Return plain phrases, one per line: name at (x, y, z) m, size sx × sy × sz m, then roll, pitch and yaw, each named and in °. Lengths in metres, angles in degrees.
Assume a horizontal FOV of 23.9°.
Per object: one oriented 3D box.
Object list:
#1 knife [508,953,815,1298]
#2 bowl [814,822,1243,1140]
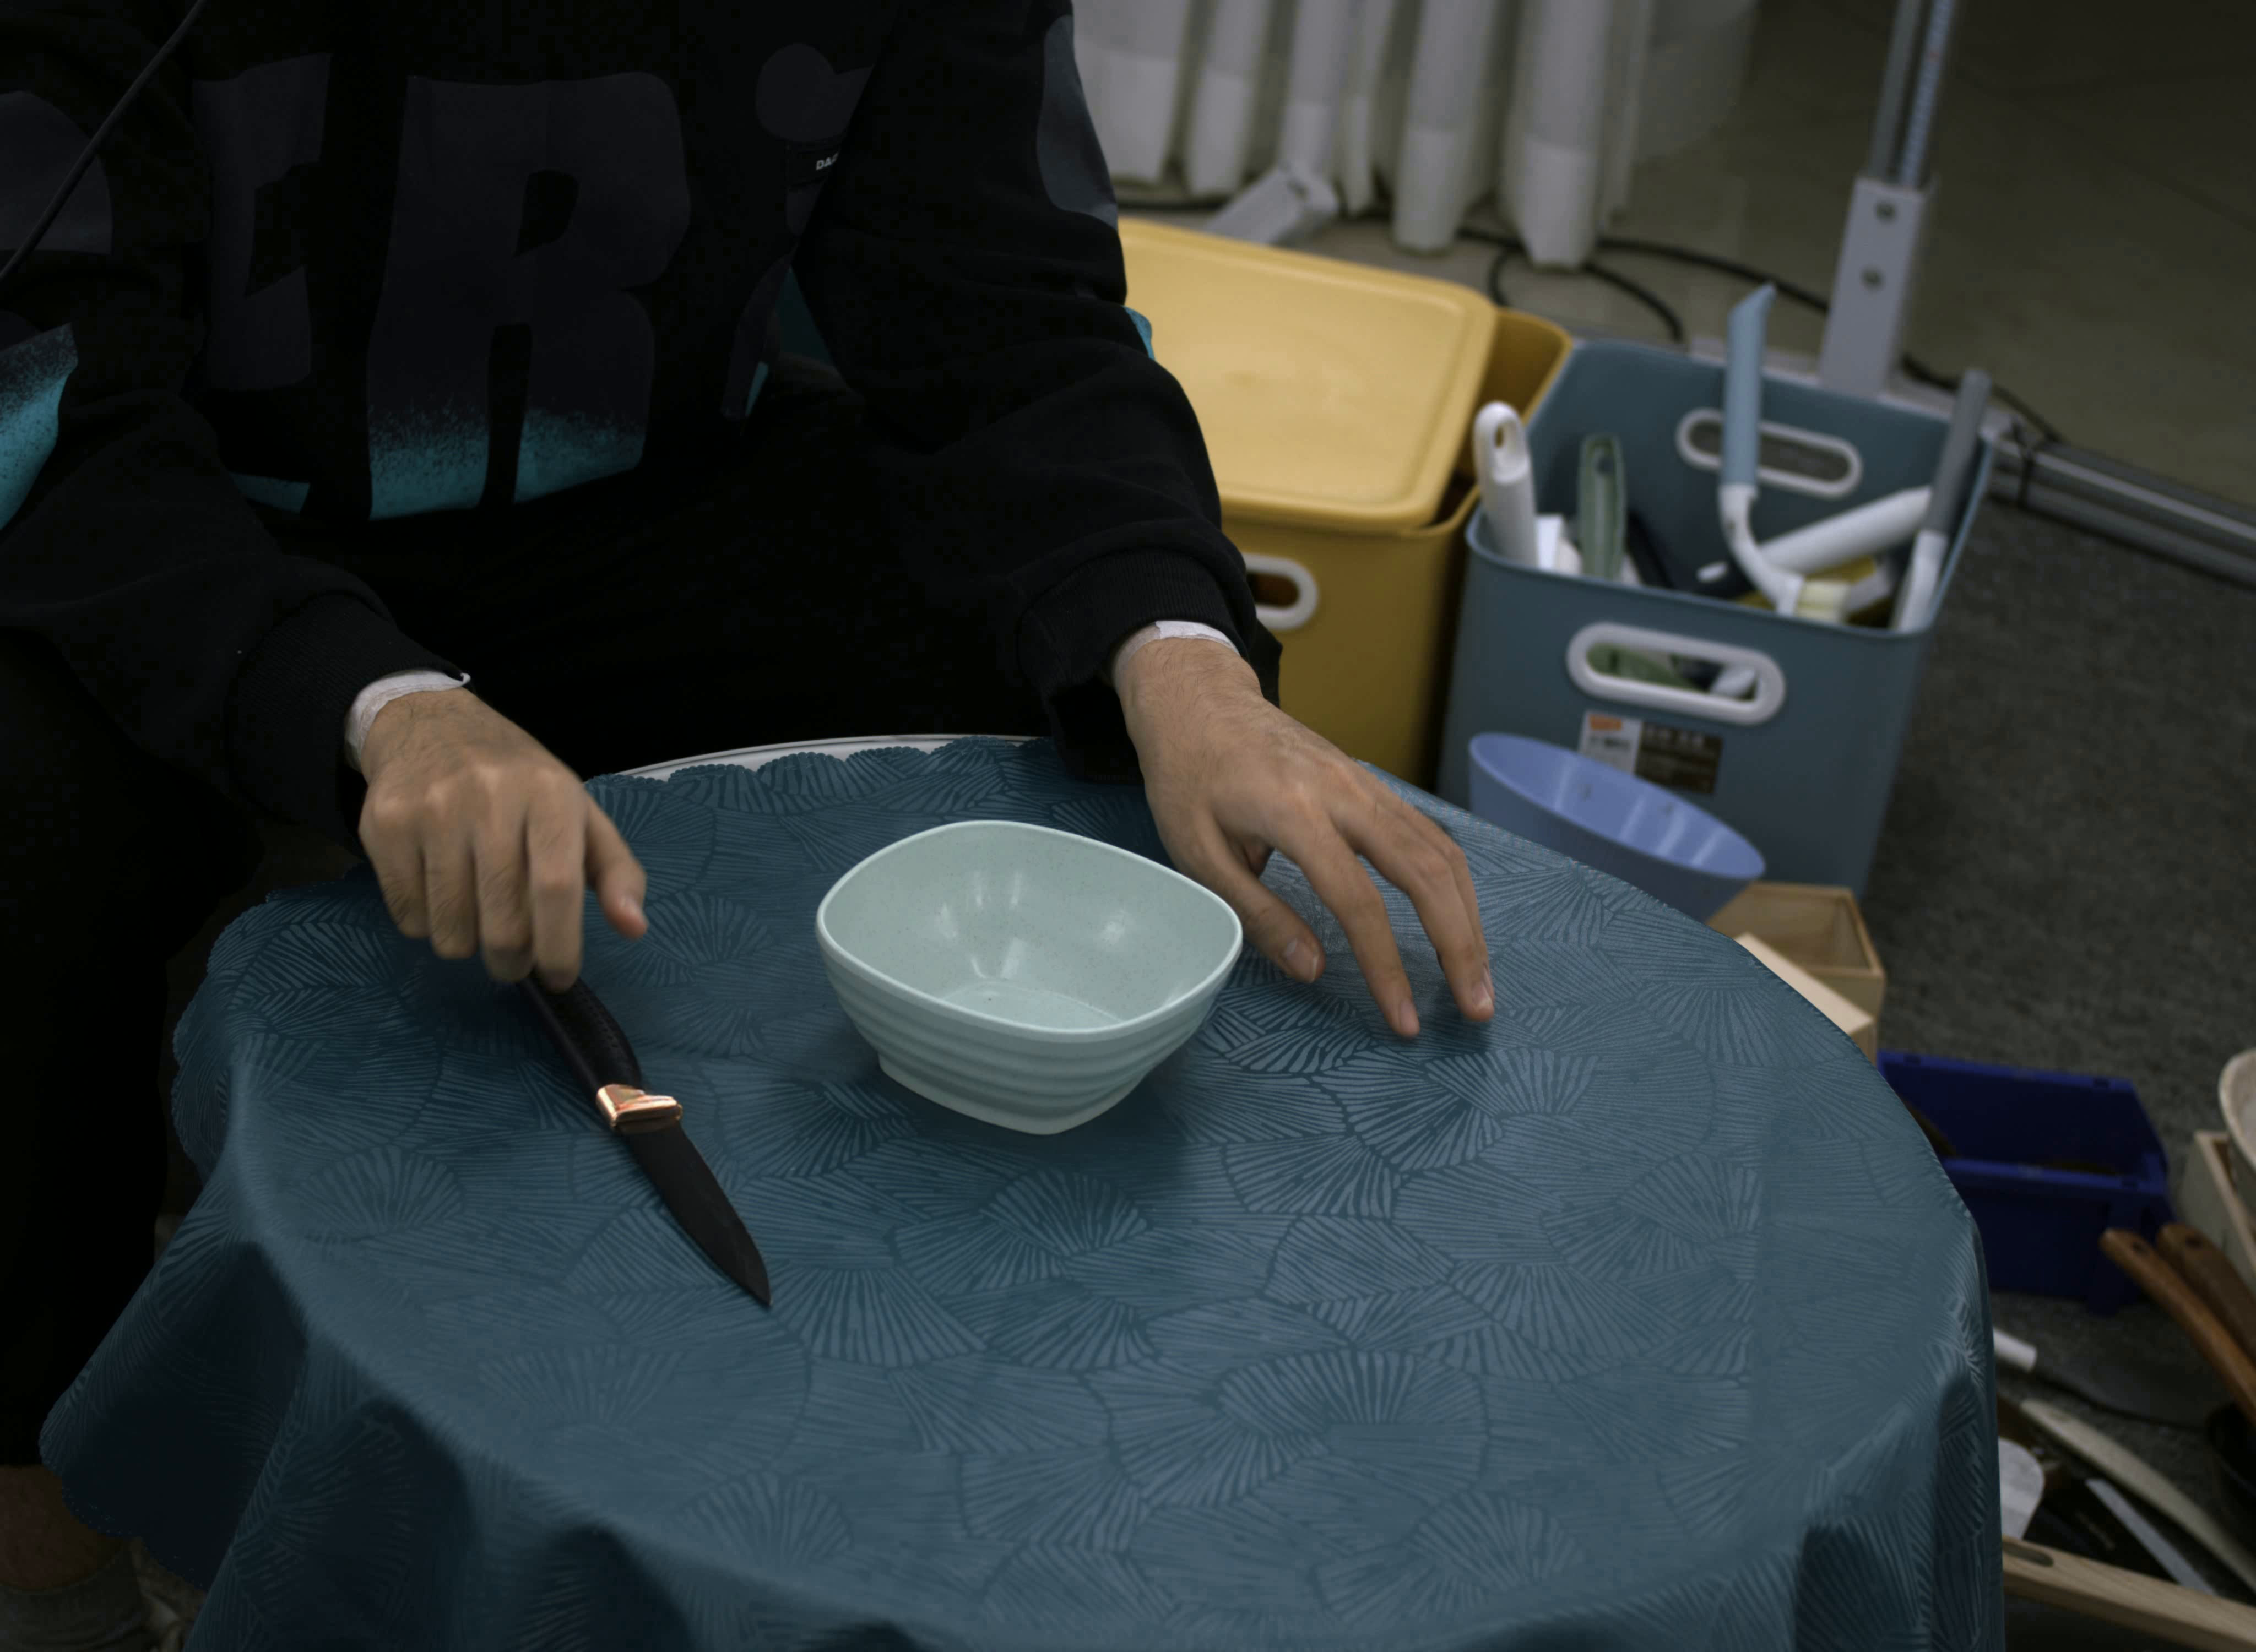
knife at (-0.160, 0.101, 1.798) m, size 0.026 × 0.017 × 0.227 m, roll -11°, pitch 32°, yaw -26°
bowl at (-0.036, 0.060, 1.860) m, size 0.151 × 0.058 × 0.152 m, roll 4°, pitch 28°, yaw -3°
